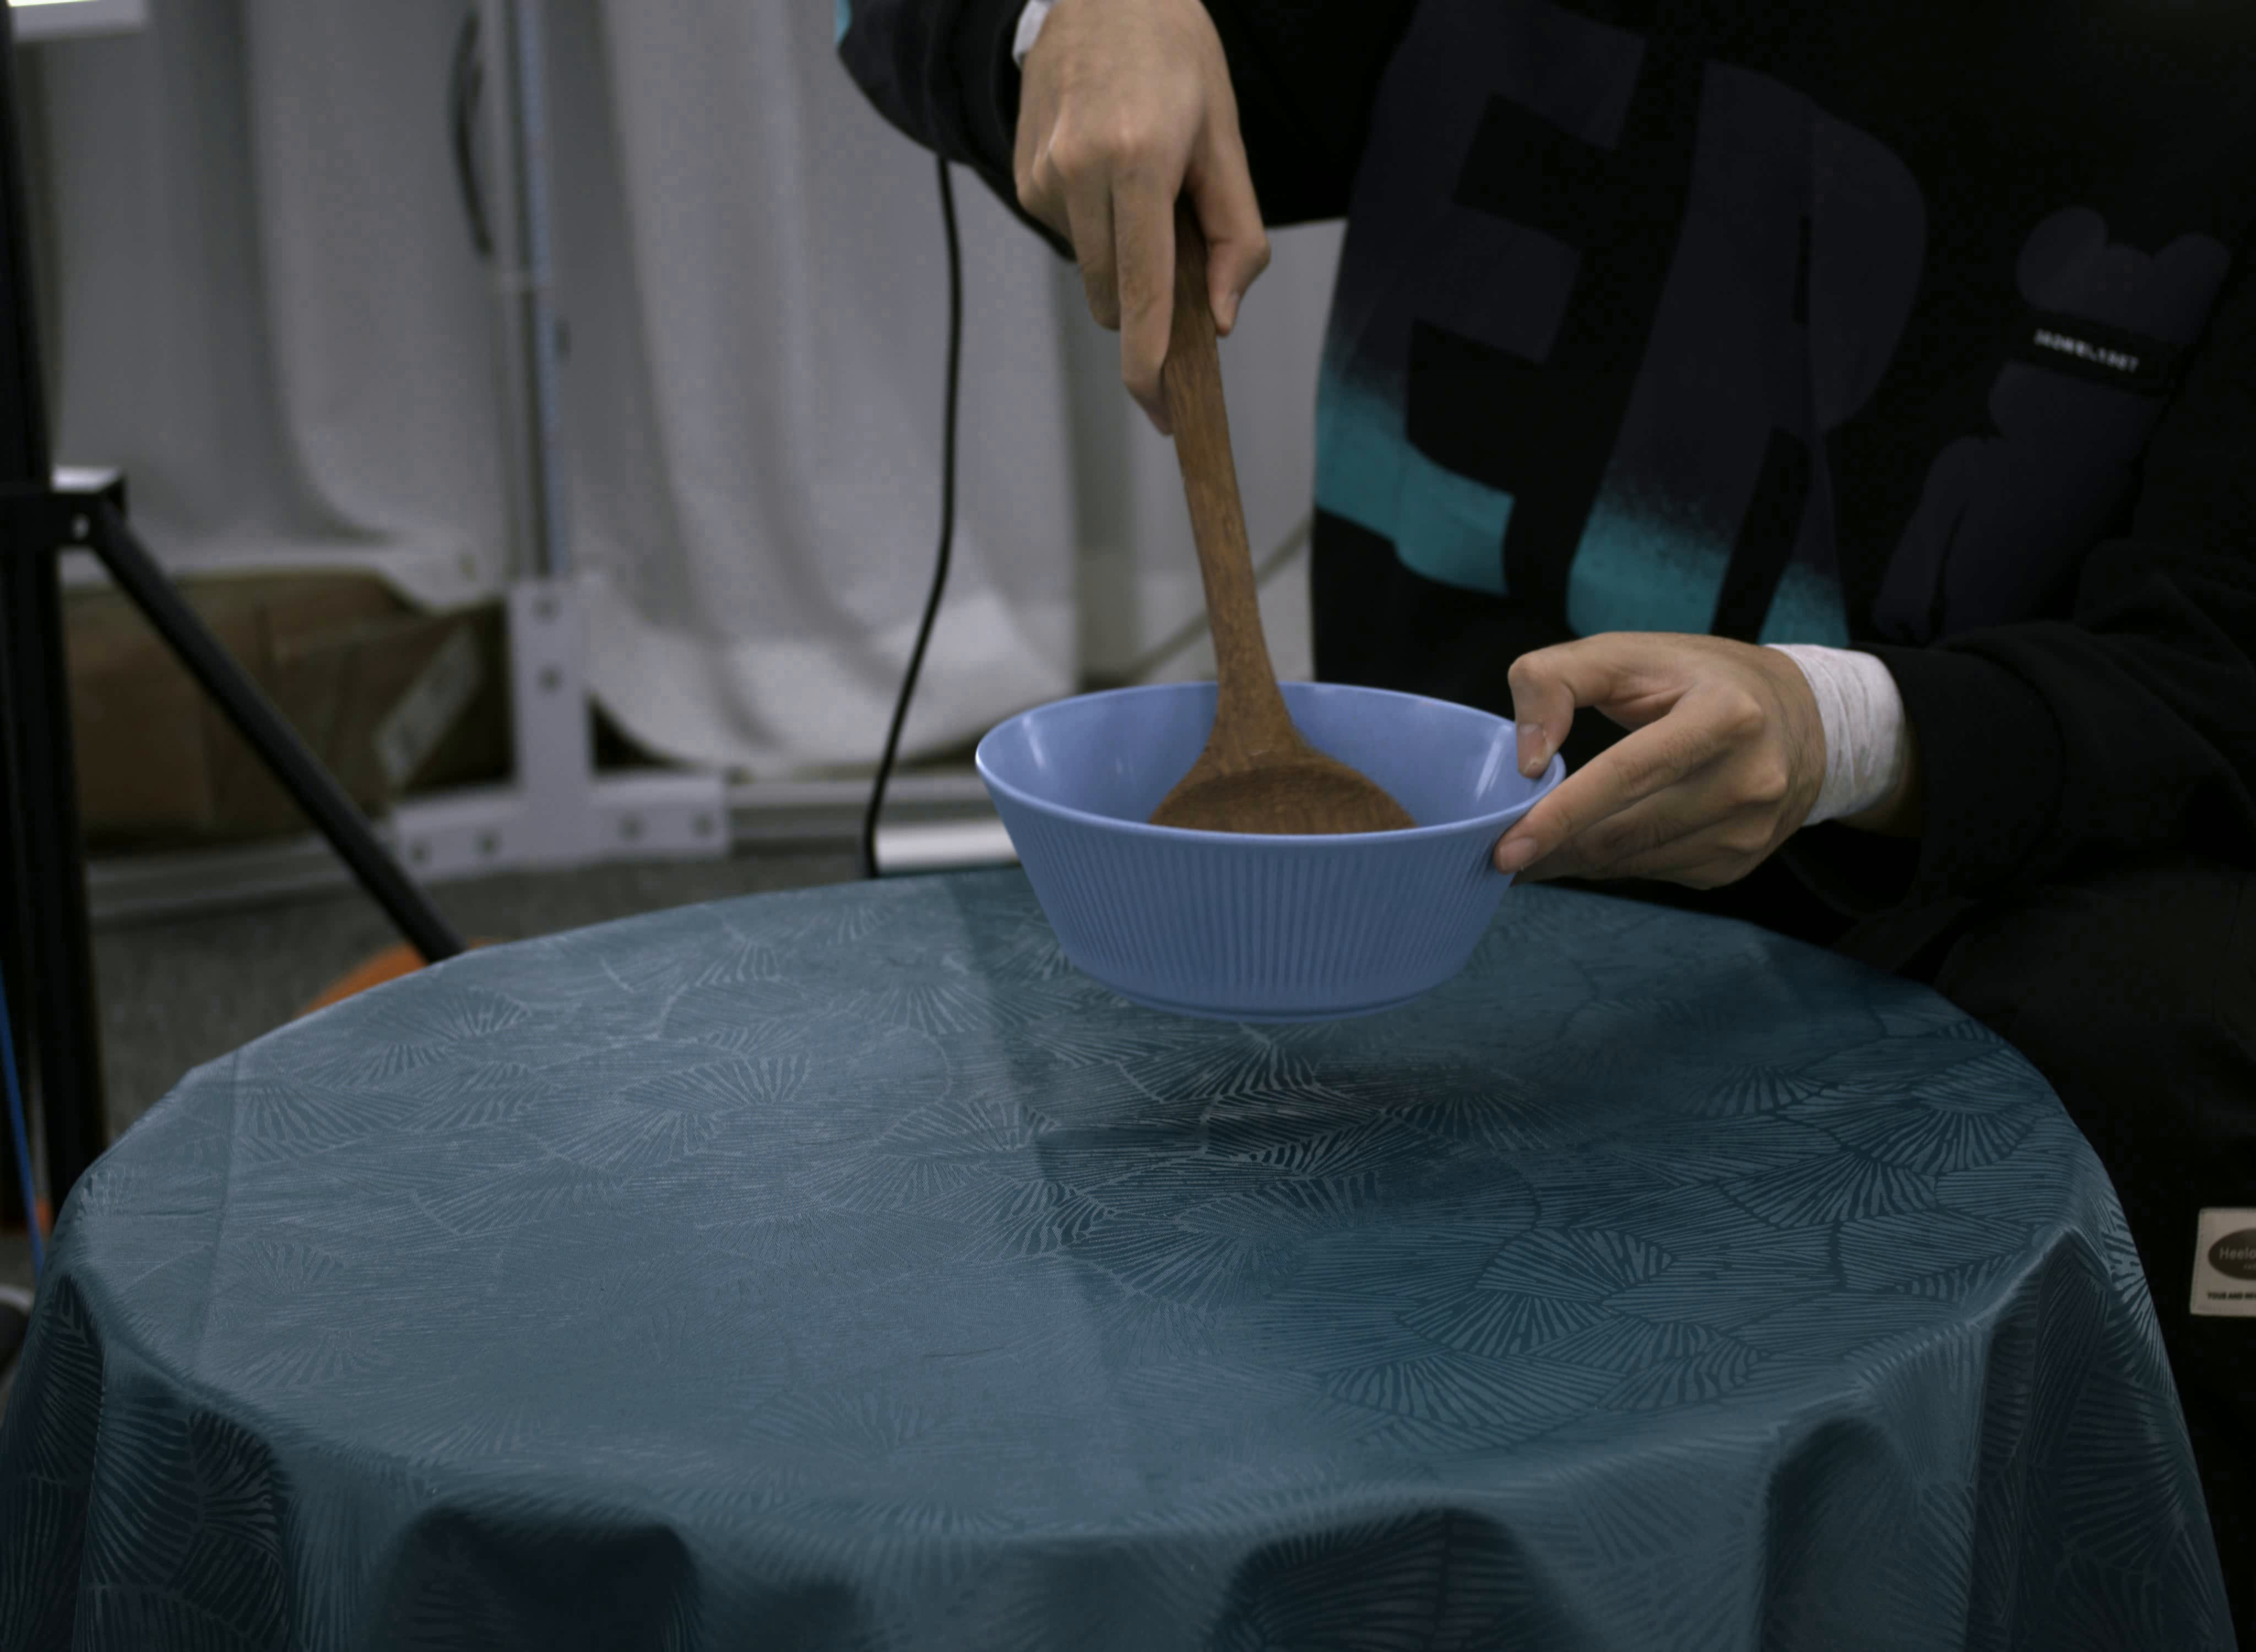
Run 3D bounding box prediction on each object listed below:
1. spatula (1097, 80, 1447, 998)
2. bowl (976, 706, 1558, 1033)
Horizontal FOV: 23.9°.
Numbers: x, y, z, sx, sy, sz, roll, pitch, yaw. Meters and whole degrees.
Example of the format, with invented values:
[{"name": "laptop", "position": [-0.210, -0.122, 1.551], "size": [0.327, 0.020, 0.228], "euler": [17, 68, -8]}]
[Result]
[{"name": "spatula", "position": [0.028, -0.099, 1.679], "size": [0.095, 0.015, 0.391], "euler": [-8, 53, -2]}, {"name": "bowl", "position": [0.043, 0.015, 1.597], "size": [0.175, 0.070, 0.177], "euler": [-4, 14, 0]}]
